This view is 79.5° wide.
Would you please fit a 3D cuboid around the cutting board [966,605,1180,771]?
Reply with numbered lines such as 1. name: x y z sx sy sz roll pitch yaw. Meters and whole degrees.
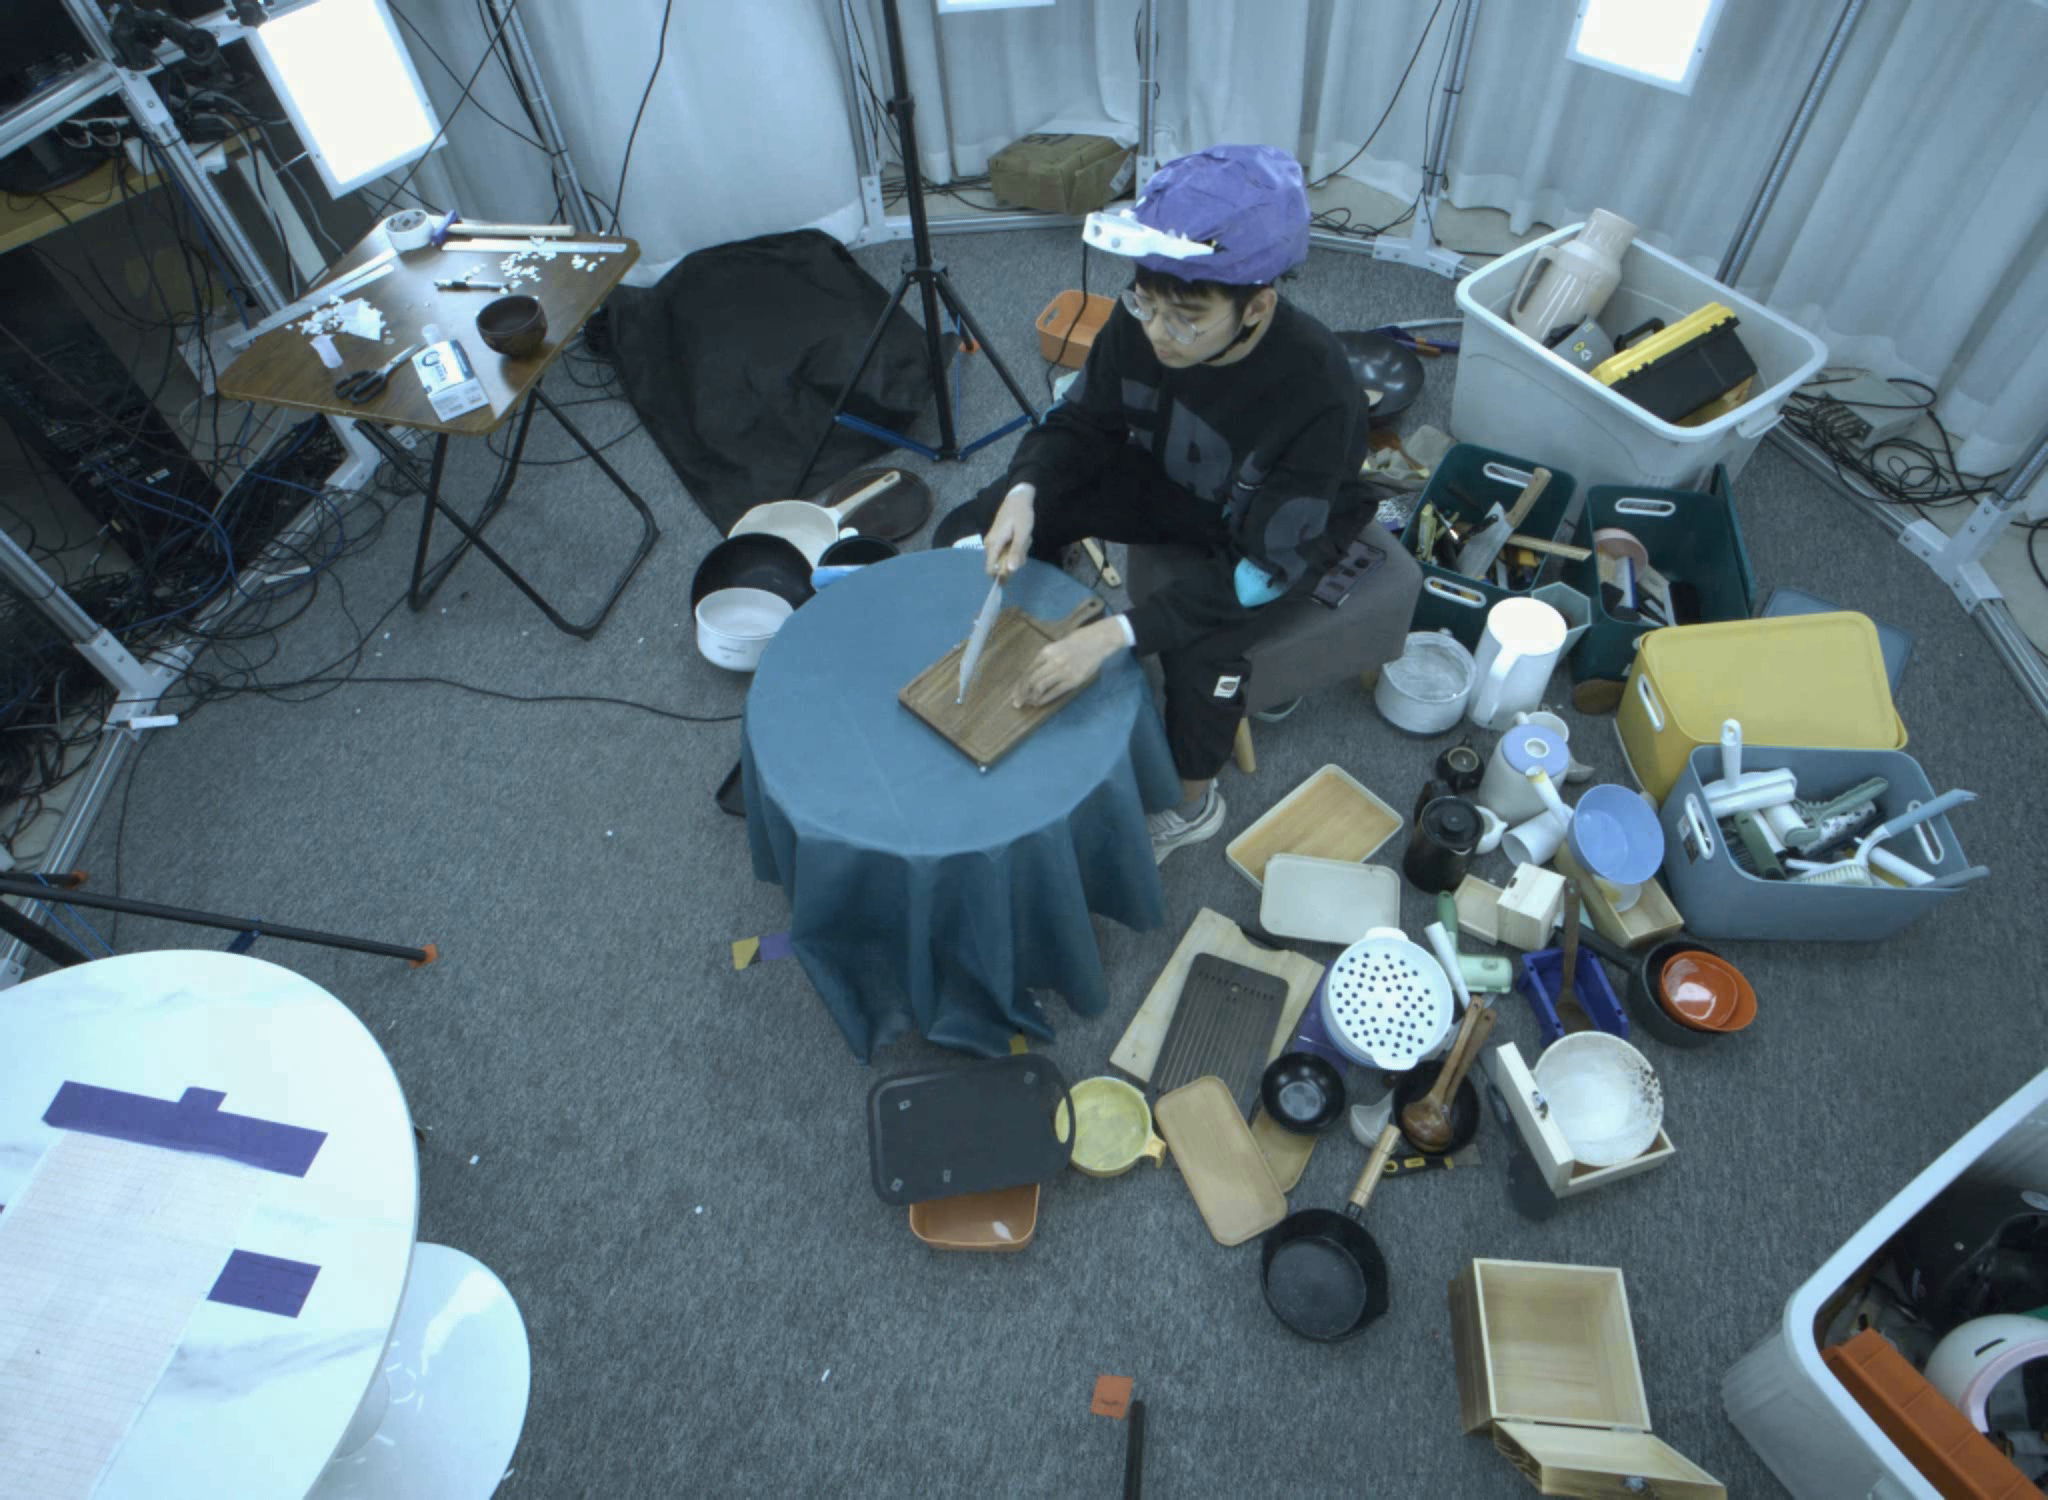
1. cutting board: 0.106 -0.122 1.862 0.355 0.023 0.197 -35 62 -23

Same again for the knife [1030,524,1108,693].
1. knife: 0.064 -0.209 1.820 0.021 0.093 0.305 19 56 10
